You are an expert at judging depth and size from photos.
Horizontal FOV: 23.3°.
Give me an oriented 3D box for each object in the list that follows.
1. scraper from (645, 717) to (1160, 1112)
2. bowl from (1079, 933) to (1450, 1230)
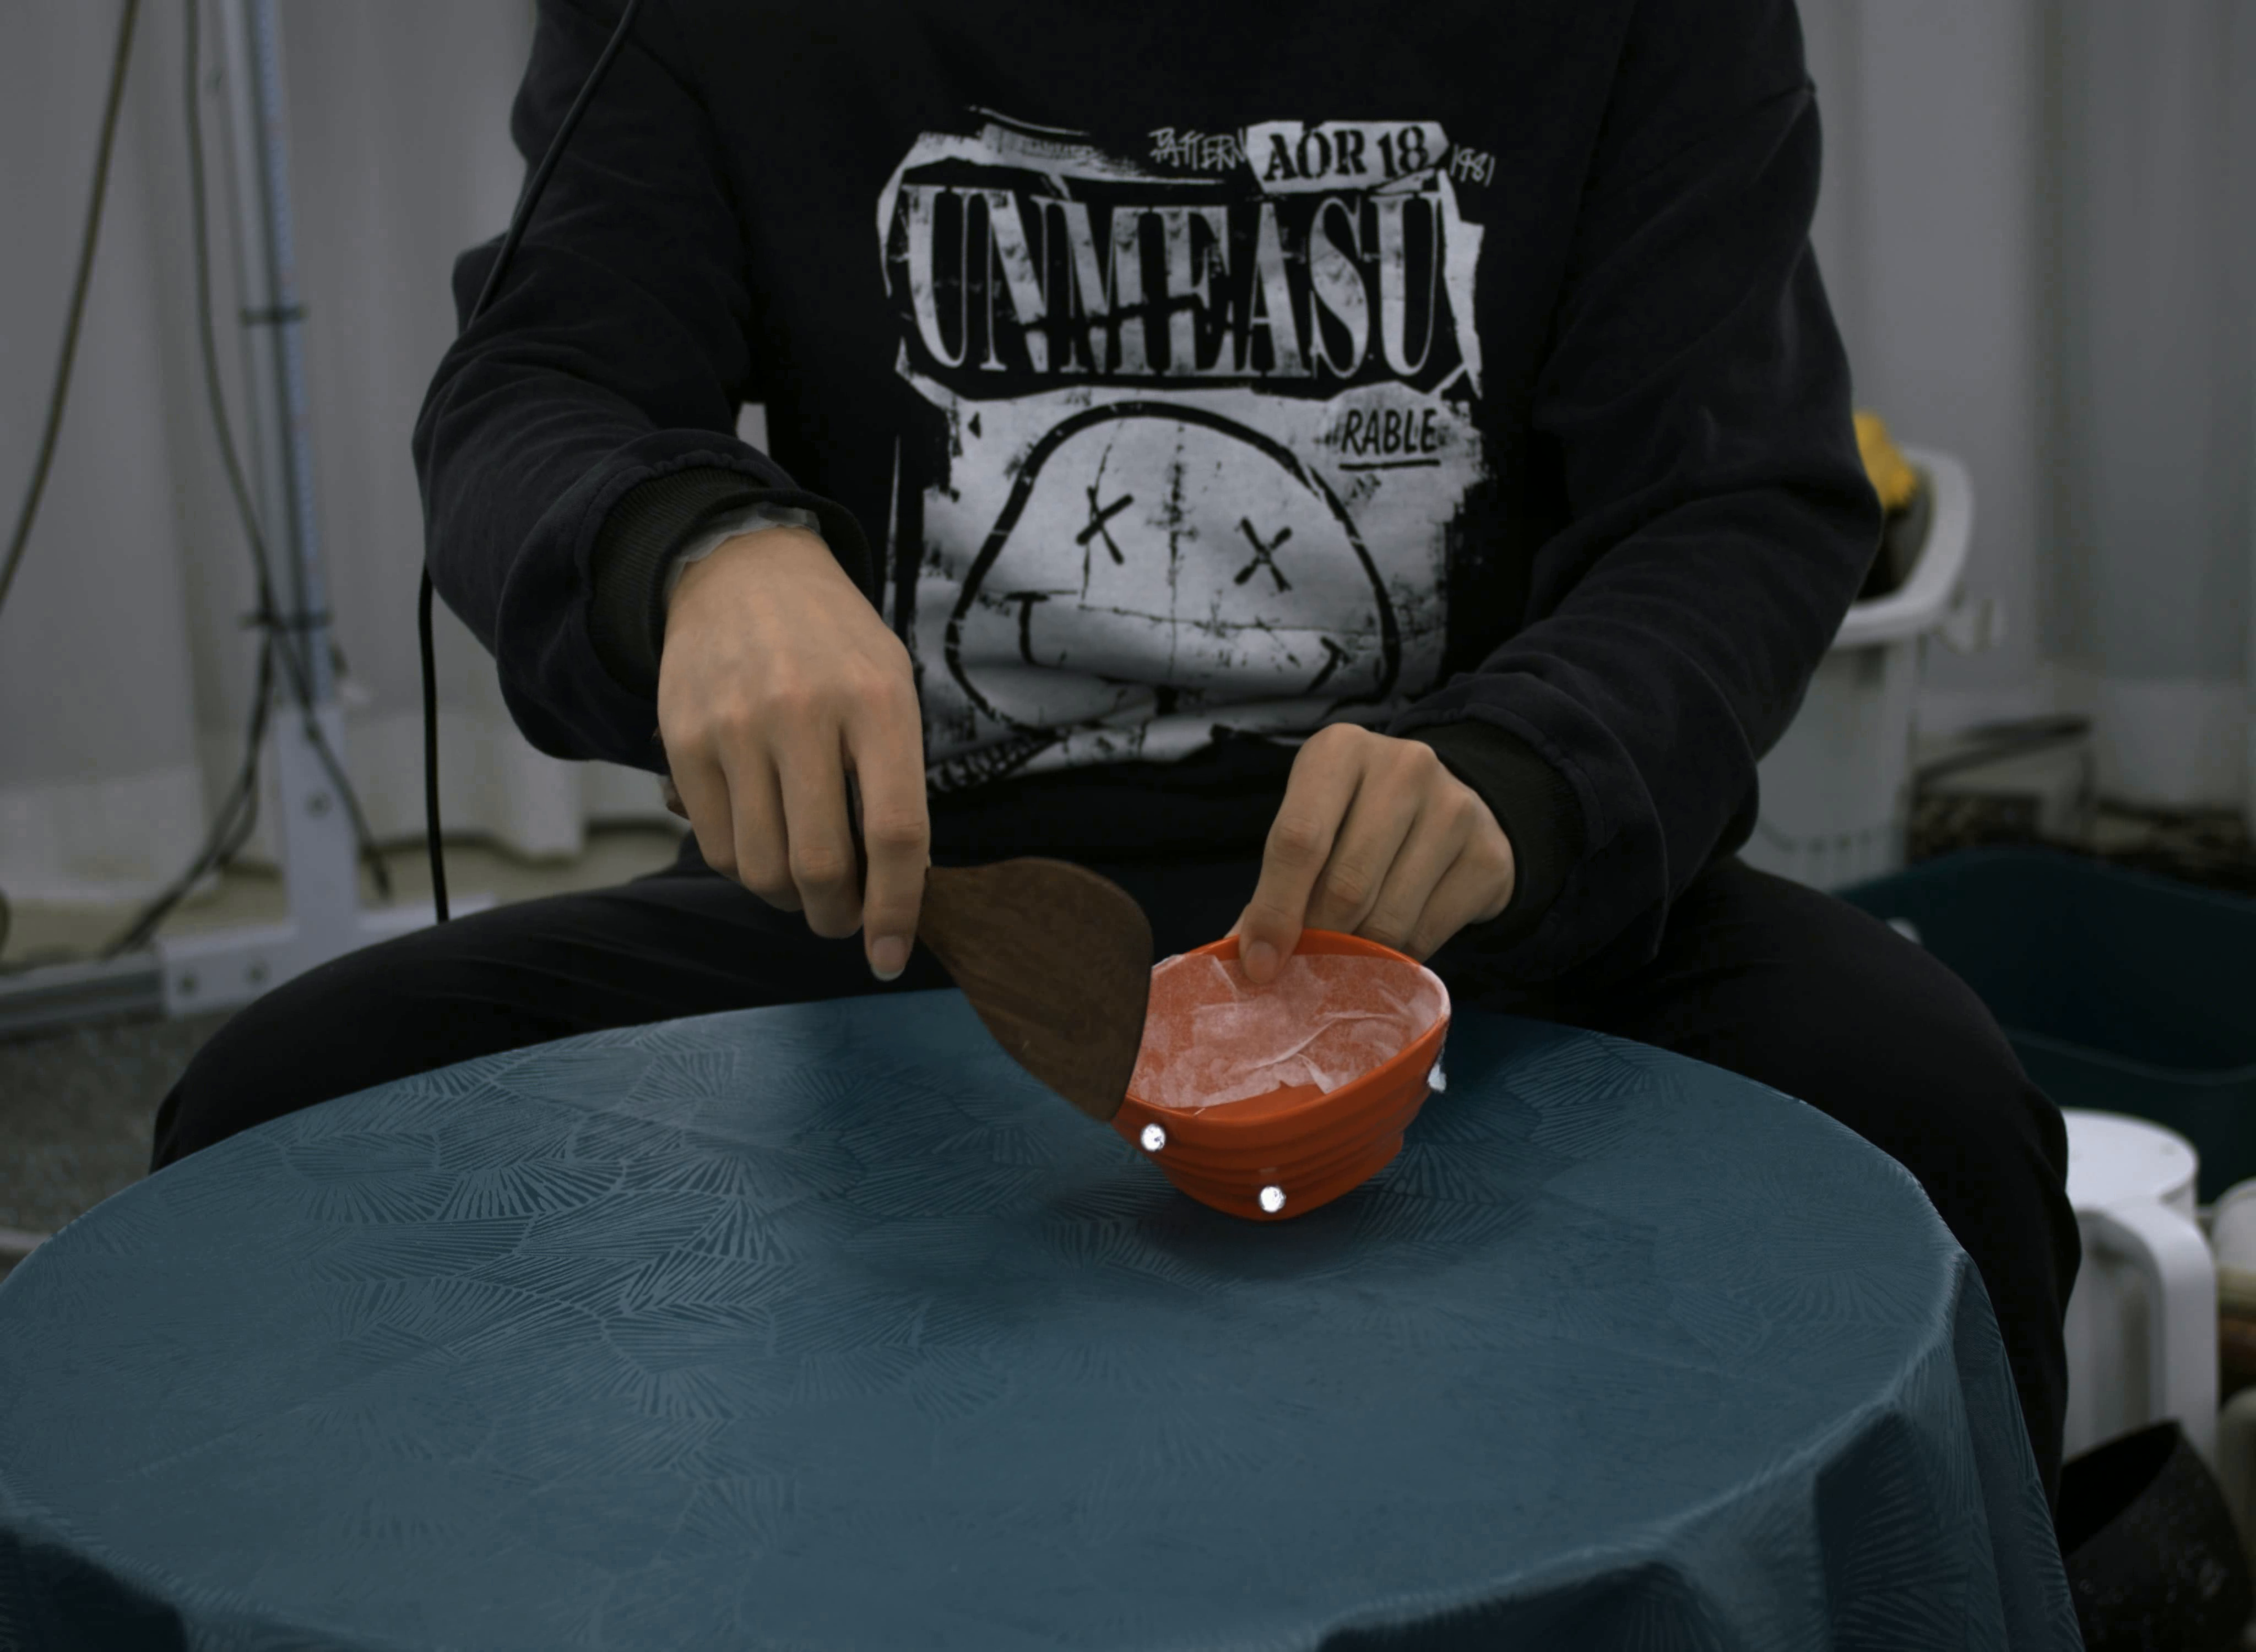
[{"bbox_3d":[-0.071,0.016,1.679,0.213,0.075,0.011,27,26,32],"label":"scraper"},{"bbox_3d":[0.045,0.084,1.697,0.118,0.051,0.120,-10,27,5],"label":"bowl"}]
